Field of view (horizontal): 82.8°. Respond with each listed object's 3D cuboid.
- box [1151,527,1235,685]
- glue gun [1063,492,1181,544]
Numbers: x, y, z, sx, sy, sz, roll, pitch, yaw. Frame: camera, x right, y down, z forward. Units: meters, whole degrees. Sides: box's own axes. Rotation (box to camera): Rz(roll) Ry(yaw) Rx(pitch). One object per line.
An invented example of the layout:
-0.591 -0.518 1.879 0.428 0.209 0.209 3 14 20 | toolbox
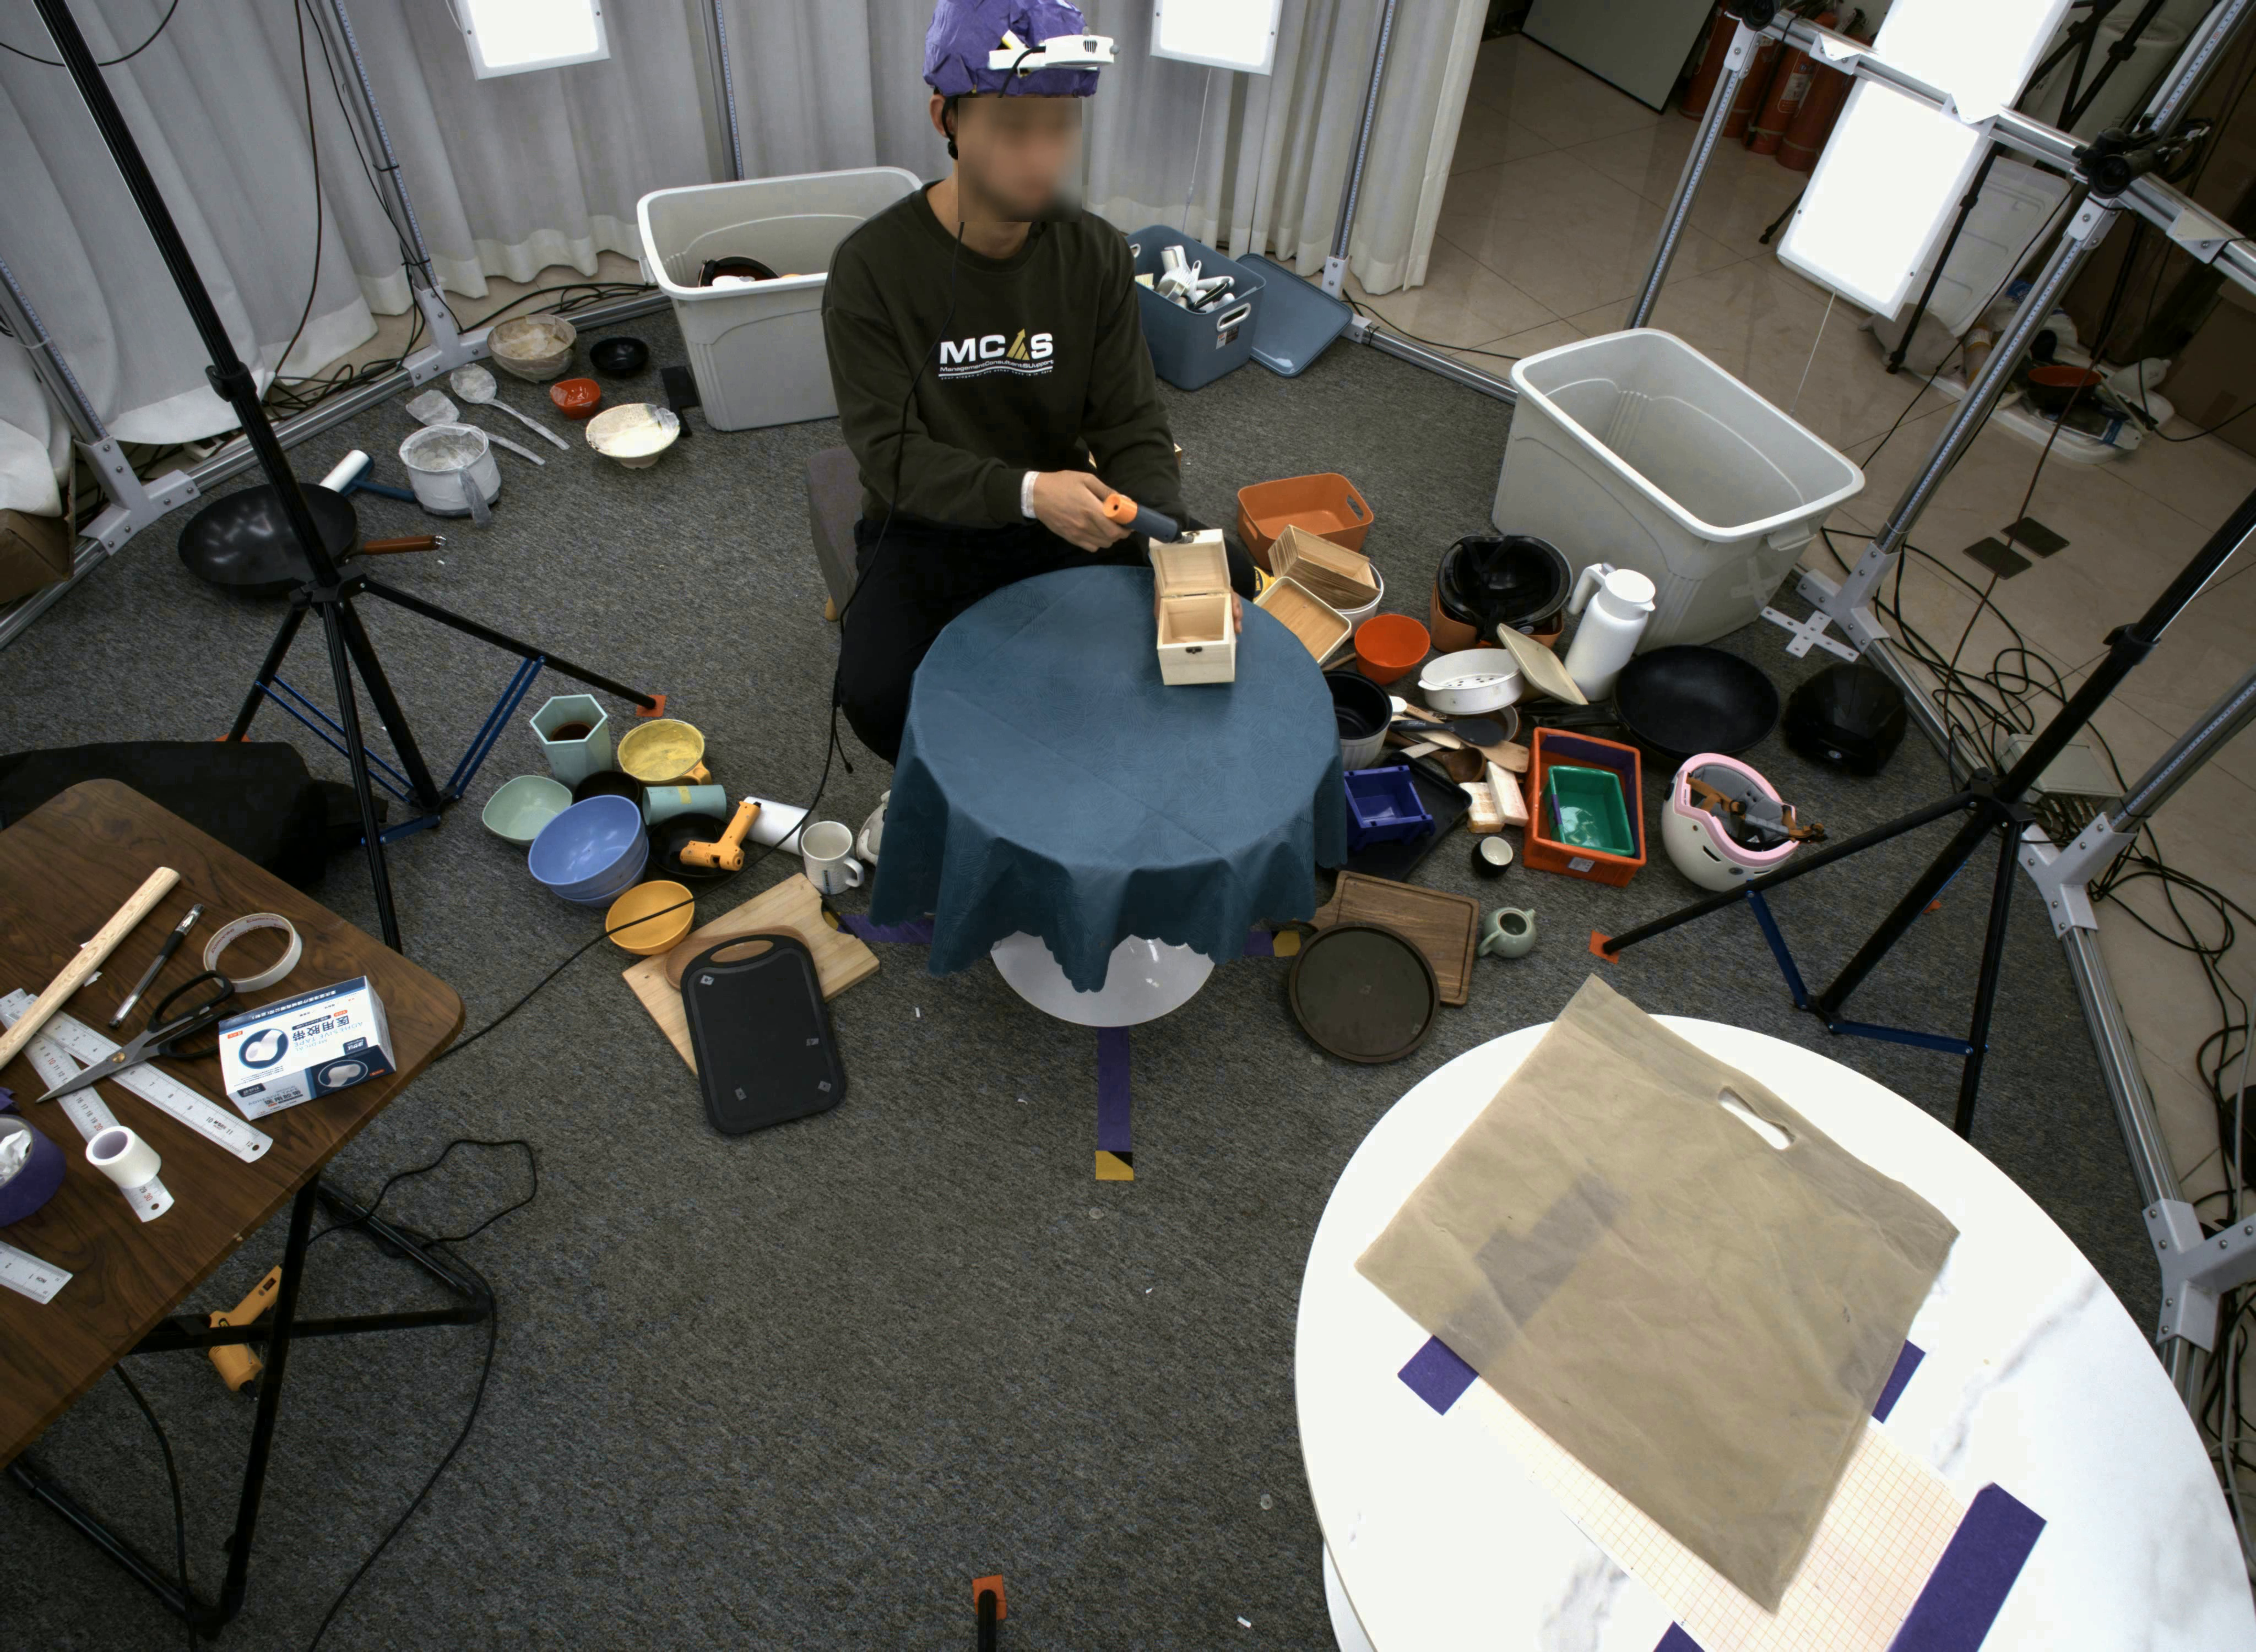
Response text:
0.092 -0.305 1.800 0.102 0.180 0.137 -3 51 9 | box
-0.008 -0.415 1.749 0.141 0.116 0.041 12 84 39 | glue gun
